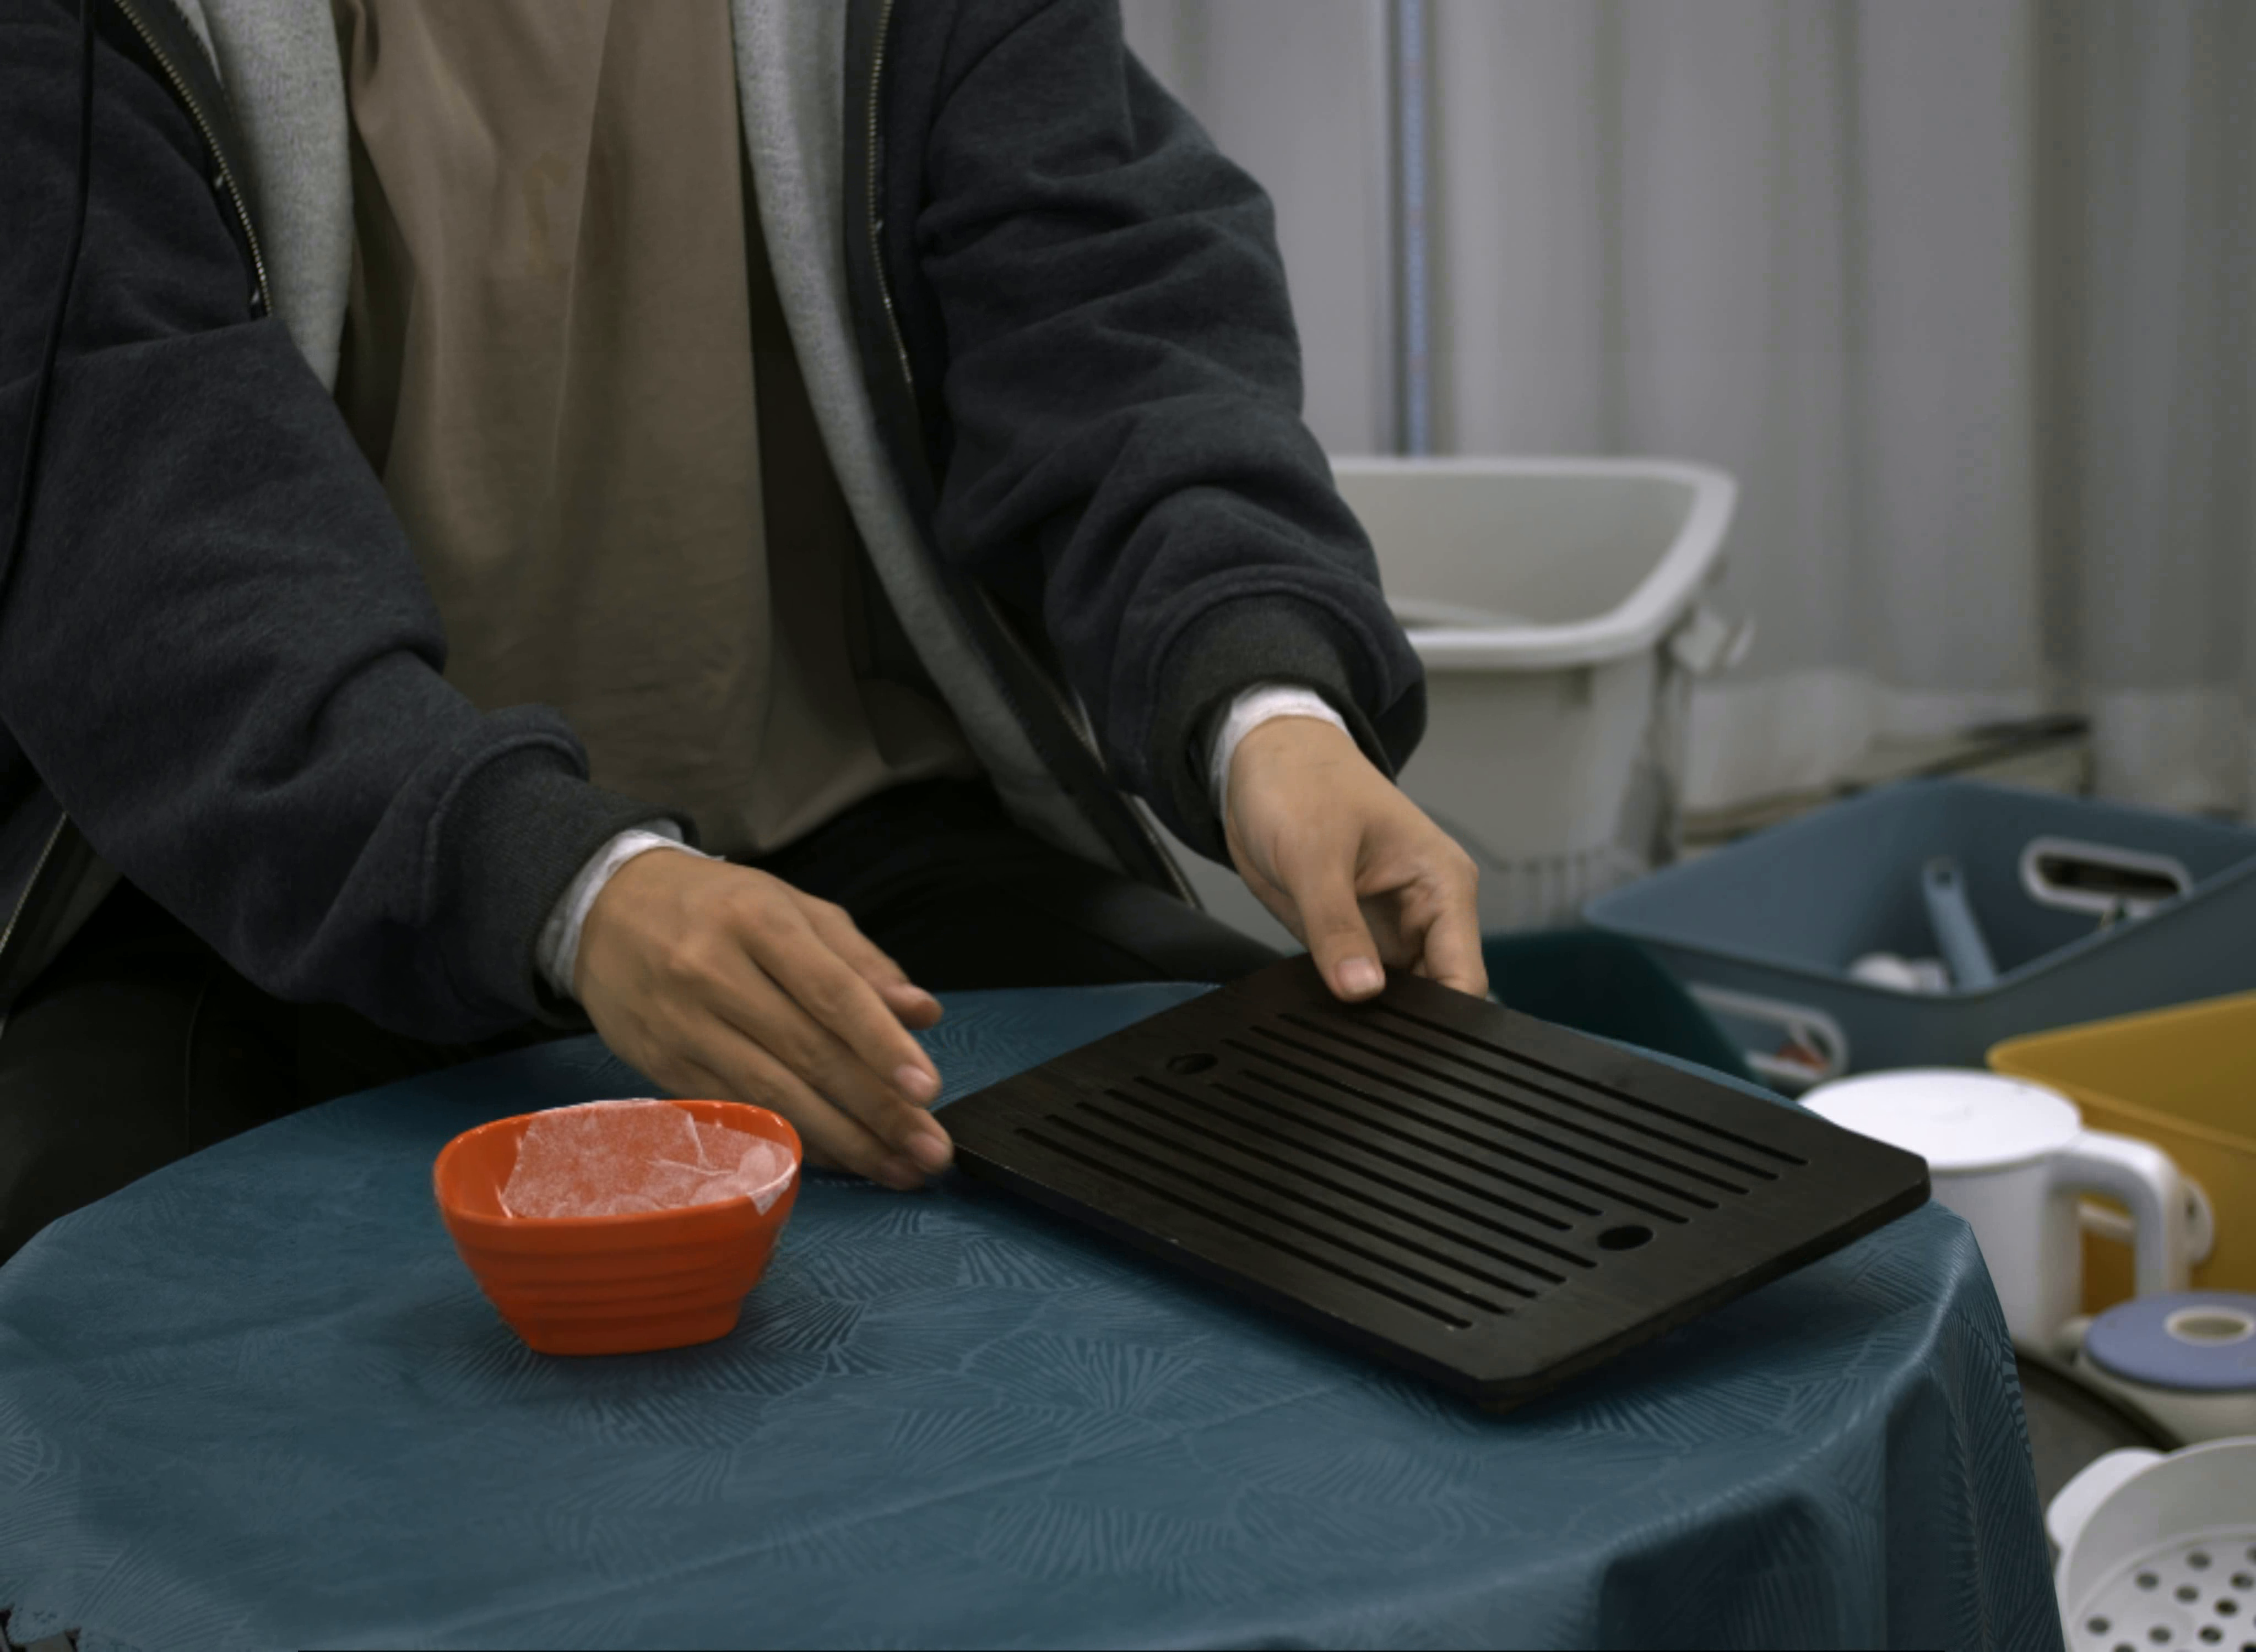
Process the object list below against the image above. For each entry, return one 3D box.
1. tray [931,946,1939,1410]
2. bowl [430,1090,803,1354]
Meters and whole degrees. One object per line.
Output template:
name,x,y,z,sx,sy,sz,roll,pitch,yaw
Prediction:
tray,0.087,0.102,1.659,0.170,0.018,0.308,-23,23,-29
bowl,-0.149,0.120,1.621,0.118,0.051,0.120,-4,16,1
